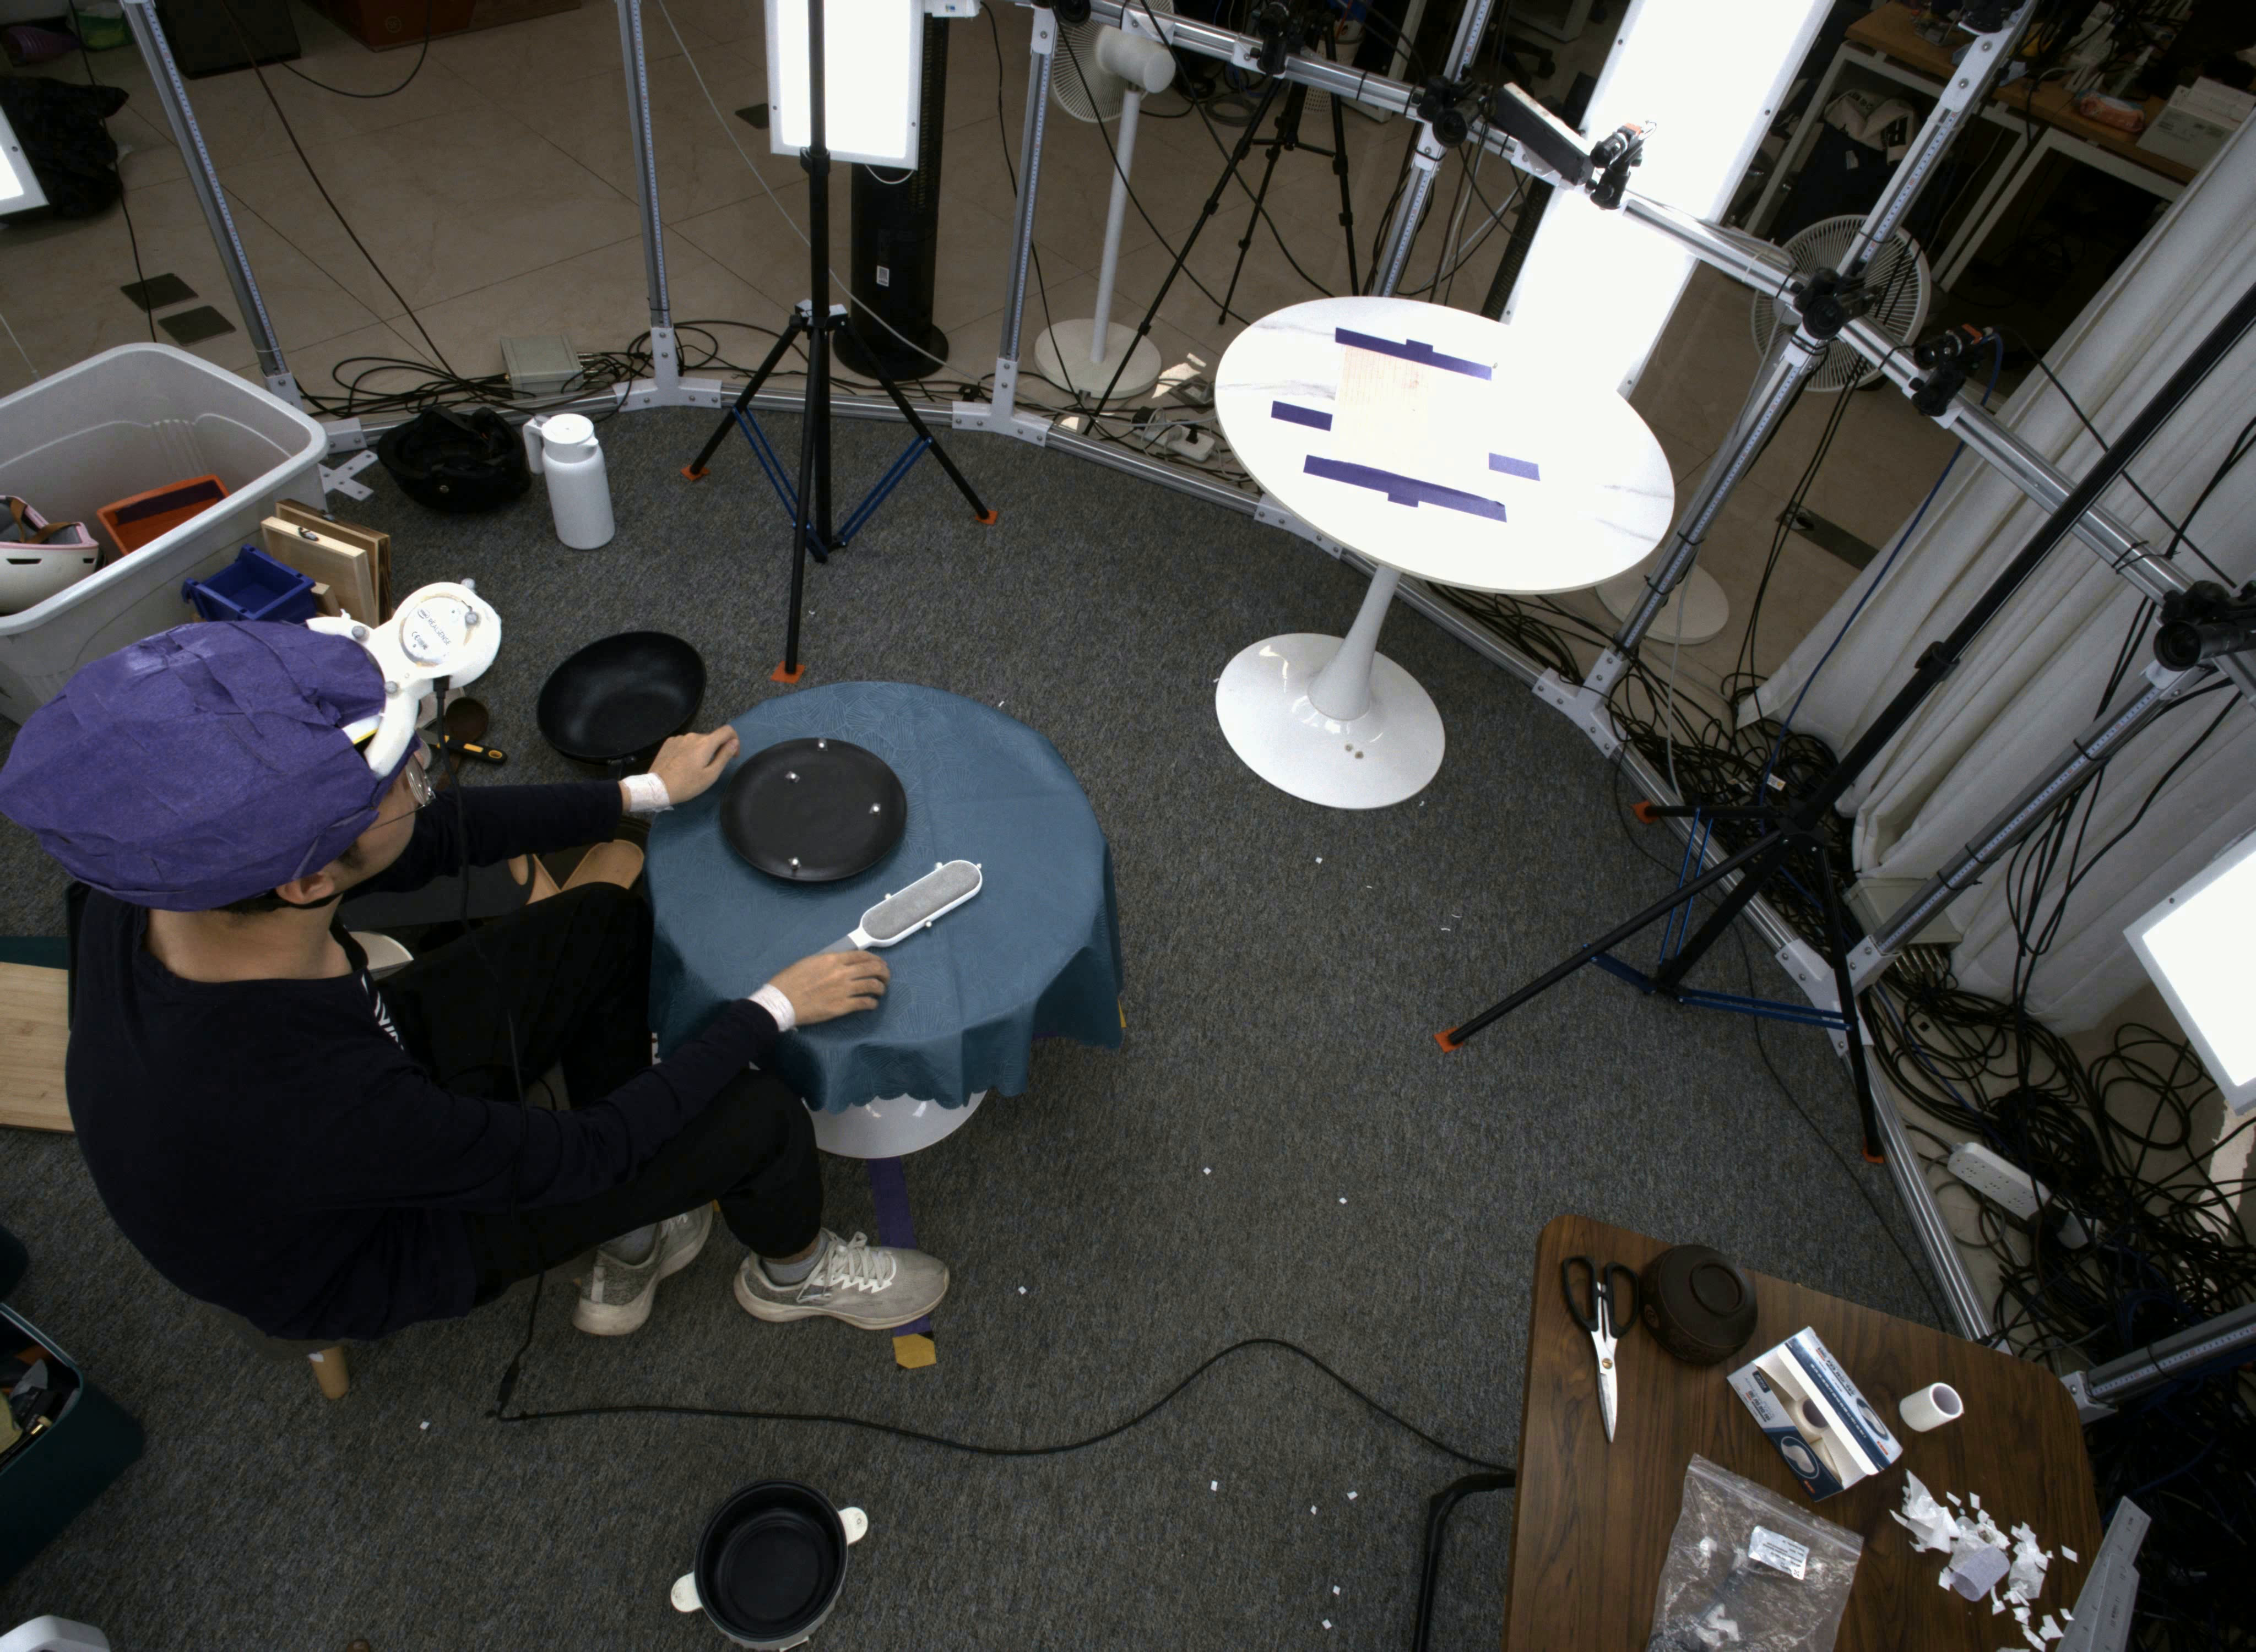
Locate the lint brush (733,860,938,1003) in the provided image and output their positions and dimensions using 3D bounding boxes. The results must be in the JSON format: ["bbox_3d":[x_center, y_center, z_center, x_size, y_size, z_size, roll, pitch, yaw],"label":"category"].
[{"bbox_3d":[-0.365,0.128,1.637,0.310,0.021,0.059,-35,73,-32],"label":"lint brush"}]

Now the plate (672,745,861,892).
[{"bbox_3d":[-0.477,-0.010,1.714,0.244,0.024,0.240,8,52,-9],"label":"plate"}]
